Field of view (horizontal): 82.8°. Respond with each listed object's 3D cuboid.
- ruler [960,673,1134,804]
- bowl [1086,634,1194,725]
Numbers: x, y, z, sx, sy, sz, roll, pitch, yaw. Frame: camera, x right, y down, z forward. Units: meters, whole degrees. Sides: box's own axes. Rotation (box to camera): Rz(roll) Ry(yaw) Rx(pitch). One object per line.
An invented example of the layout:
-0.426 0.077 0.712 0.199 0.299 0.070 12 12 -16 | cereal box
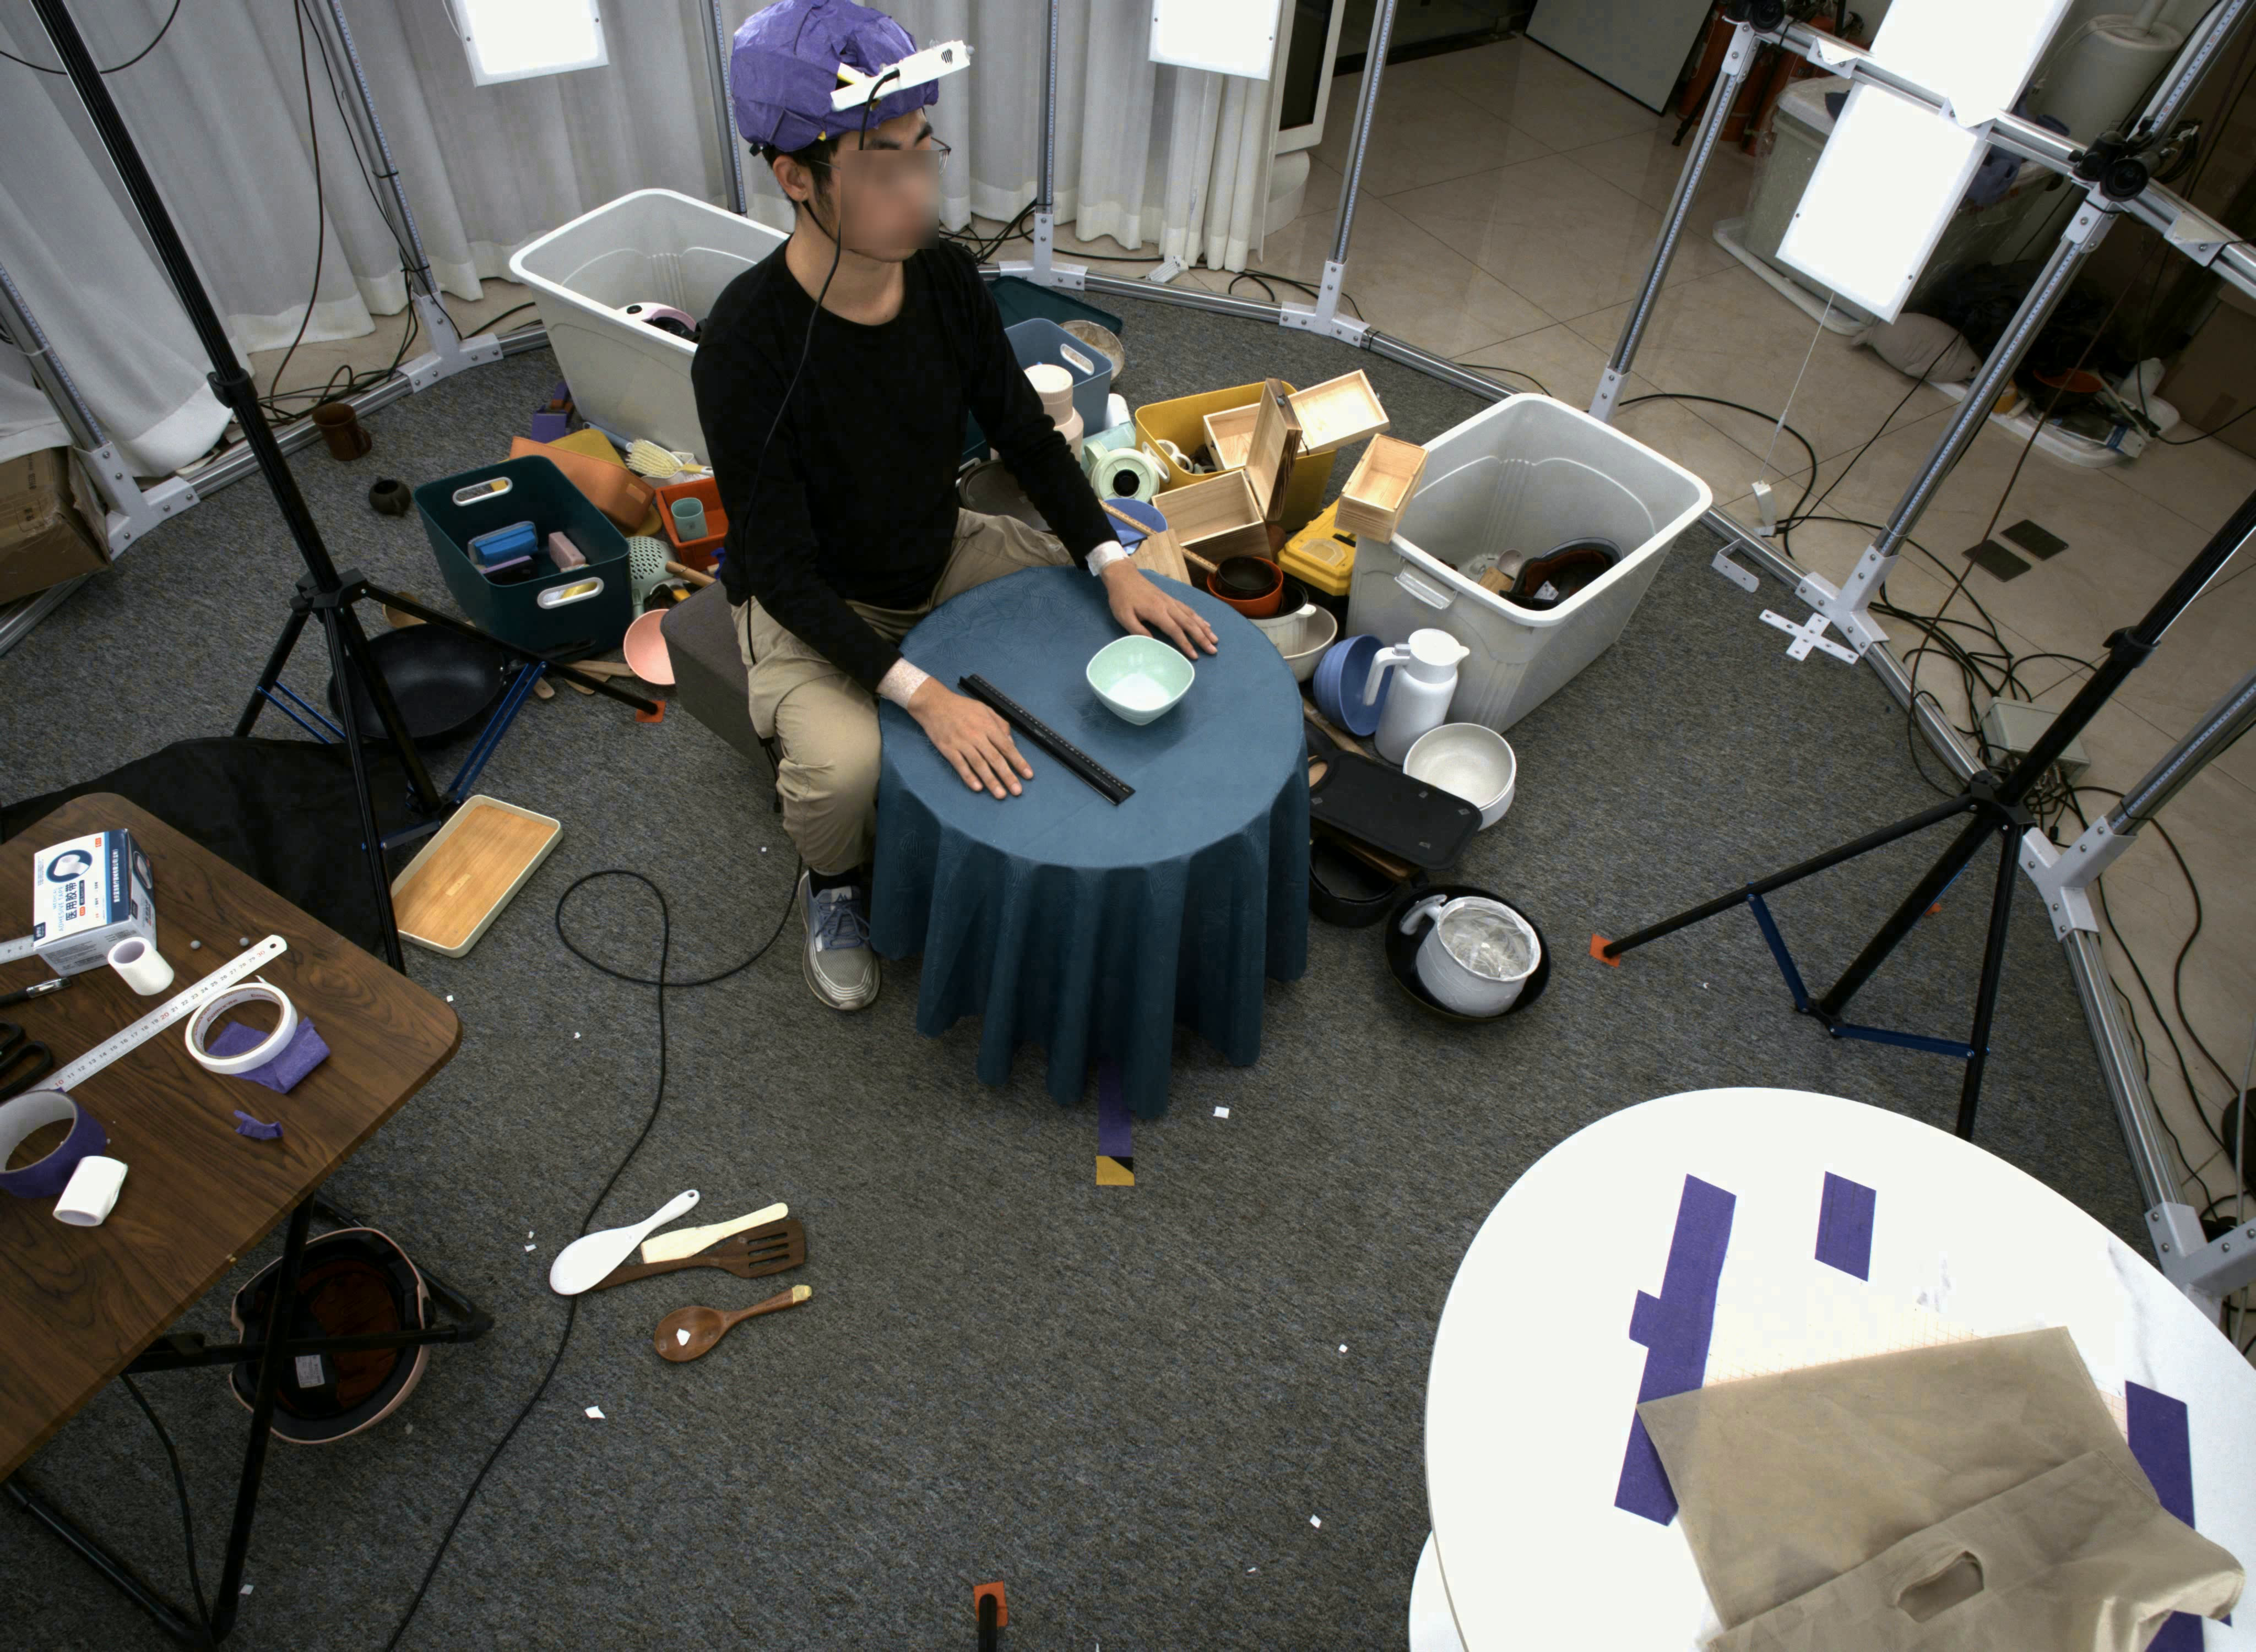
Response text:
-0.114 -0.128 1.764 0.317 0.017 0.039 38 53 26 | ruler
0.015 -0.198 1.806 0.151 0.057 0.155 2 51 -3 | bowl
